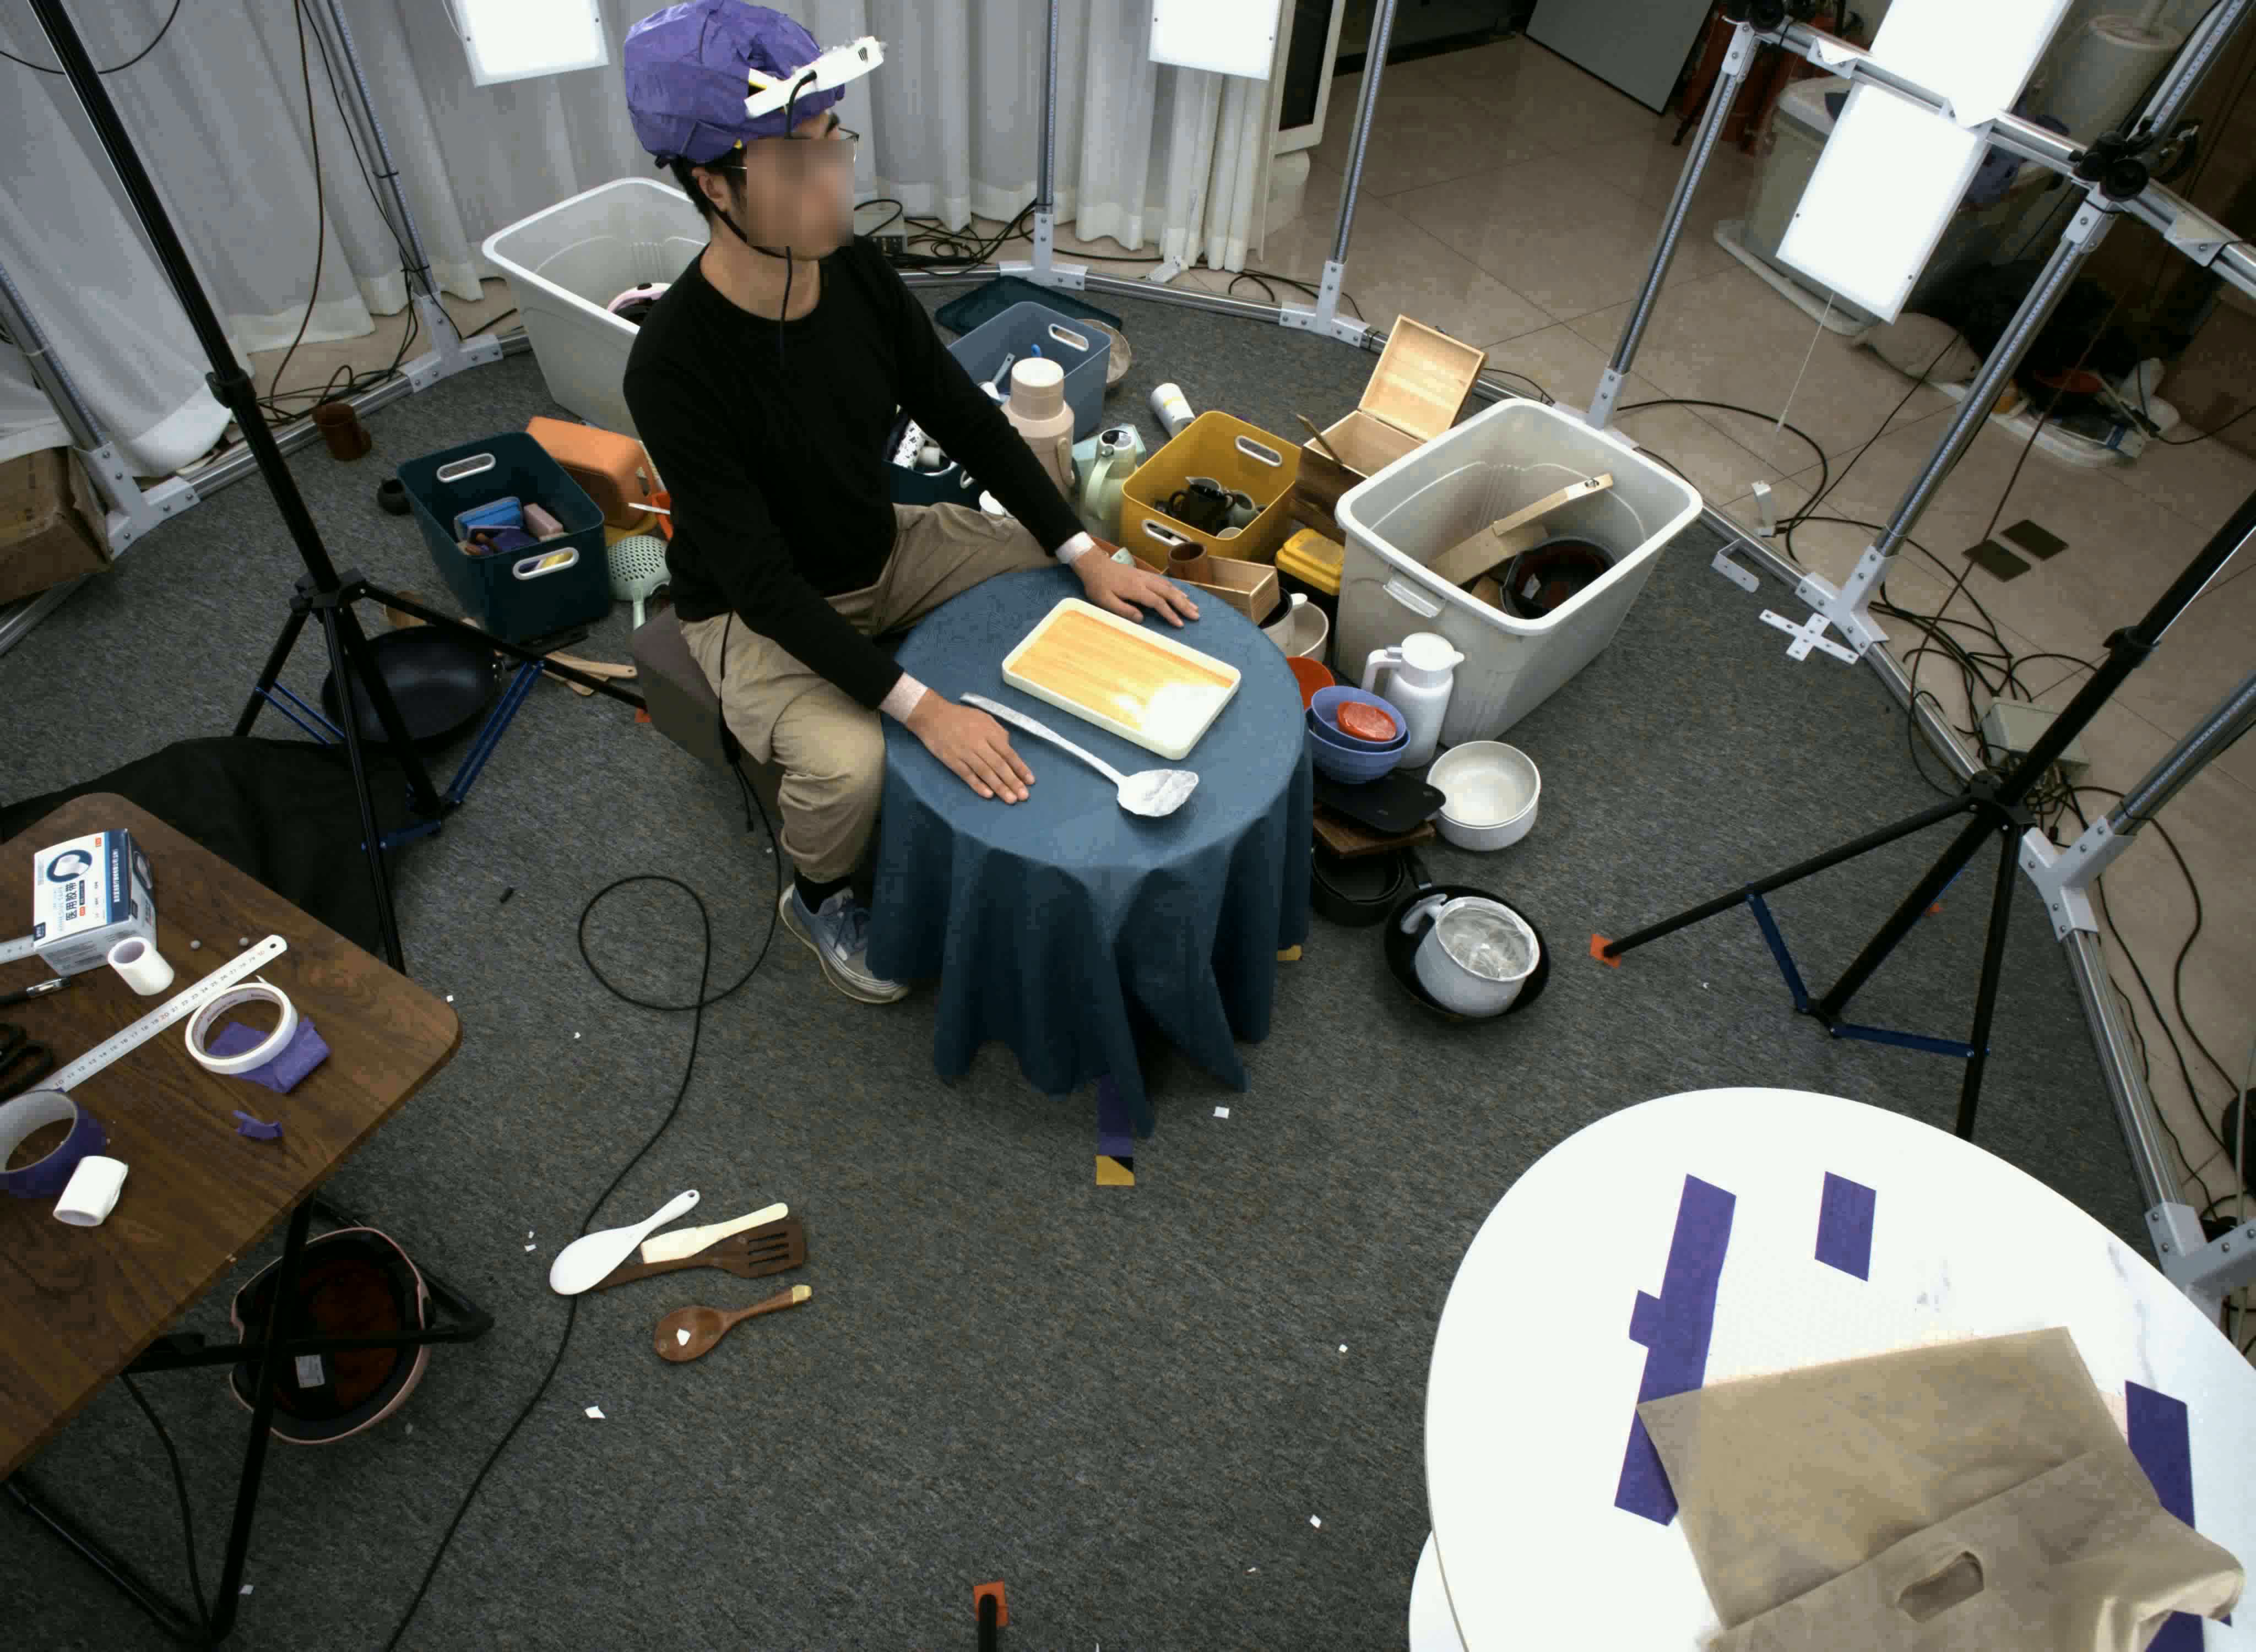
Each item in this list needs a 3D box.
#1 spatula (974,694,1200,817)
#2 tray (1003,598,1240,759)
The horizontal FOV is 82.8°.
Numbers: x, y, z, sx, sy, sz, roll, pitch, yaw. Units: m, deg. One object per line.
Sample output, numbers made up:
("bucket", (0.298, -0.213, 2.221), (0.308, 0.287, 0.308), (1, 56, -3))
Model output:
("spatula", (-0.072, -0.108, 1.734), (0.368, 0.044, 0.100), (30, 54, 20))
("tray", (-0.009, -0.216, 1.839), (0.303, 0.027, 0.194), (26, 53, 18))
